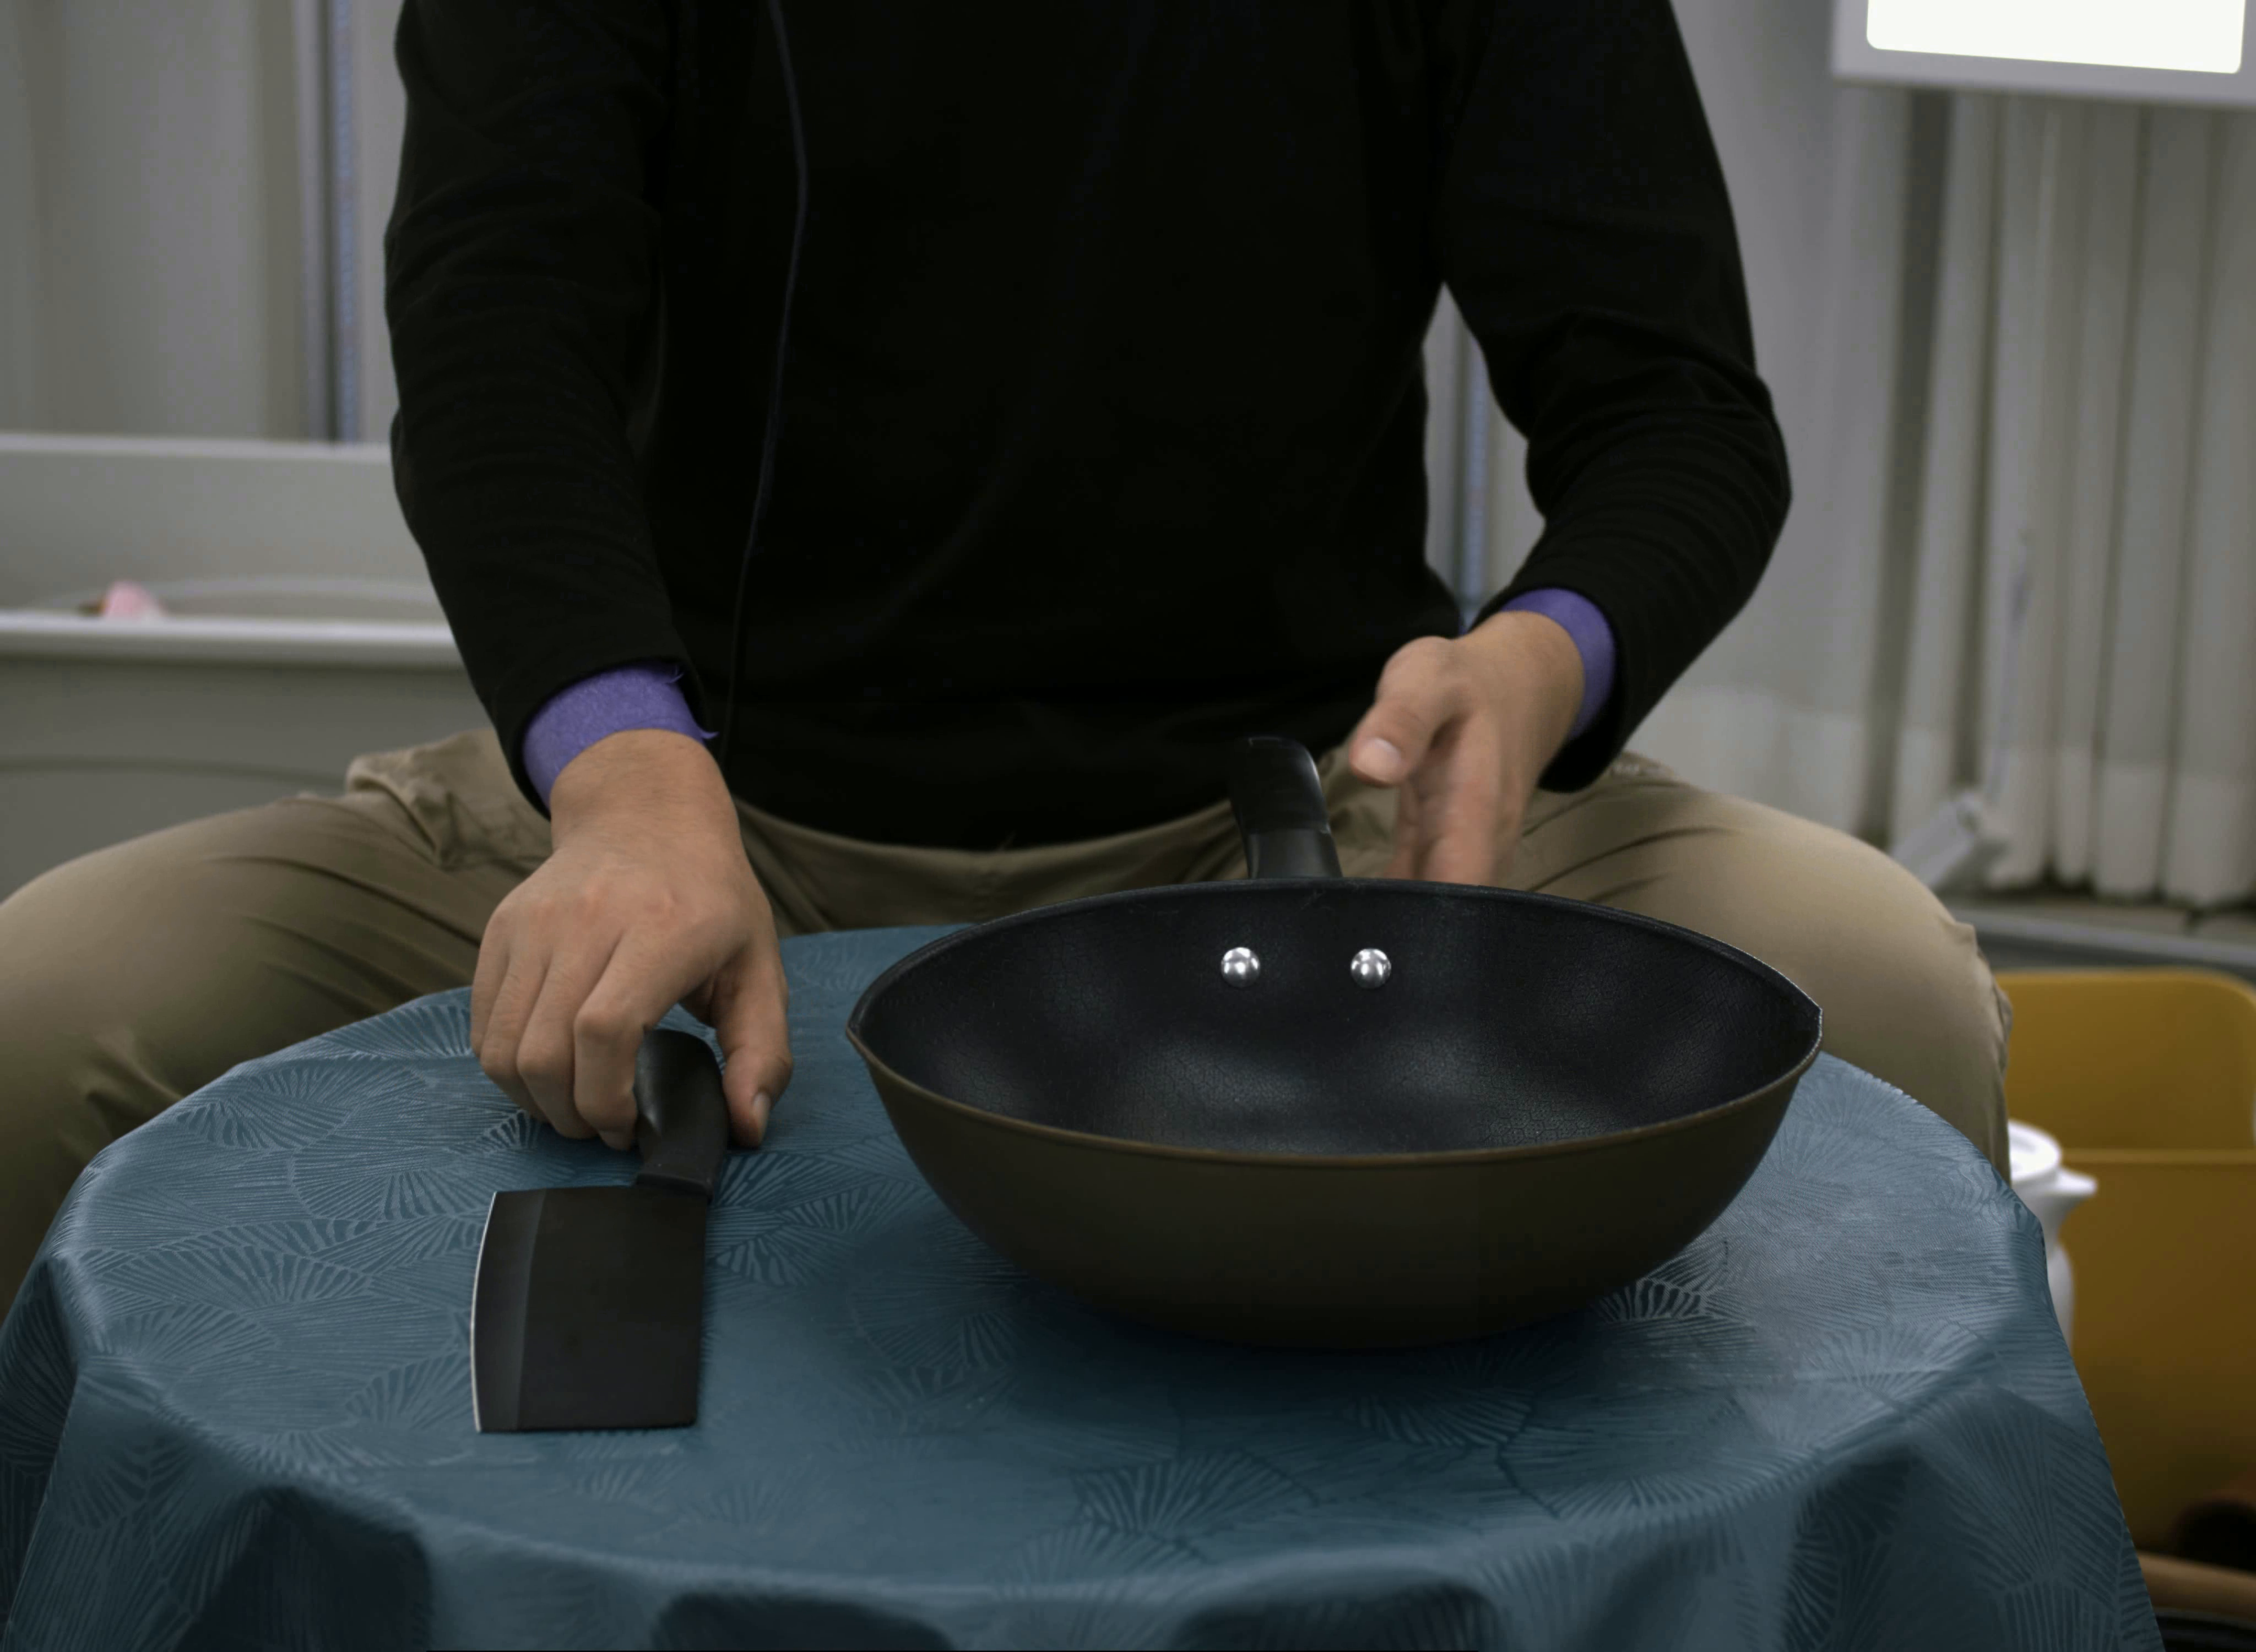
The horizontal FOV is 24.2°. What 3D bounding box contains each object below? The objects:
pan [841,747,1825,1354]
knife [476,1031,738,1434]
[{"bbox_3d":[0.057,0.067,1.633,0.287,0.087,0.460,0,15,-2],"label":"pan"},{"bbox_3d":[-0.152,0.119,1.568,0.080,0.021,0.300,1,18,1],"label":"knife"}]
